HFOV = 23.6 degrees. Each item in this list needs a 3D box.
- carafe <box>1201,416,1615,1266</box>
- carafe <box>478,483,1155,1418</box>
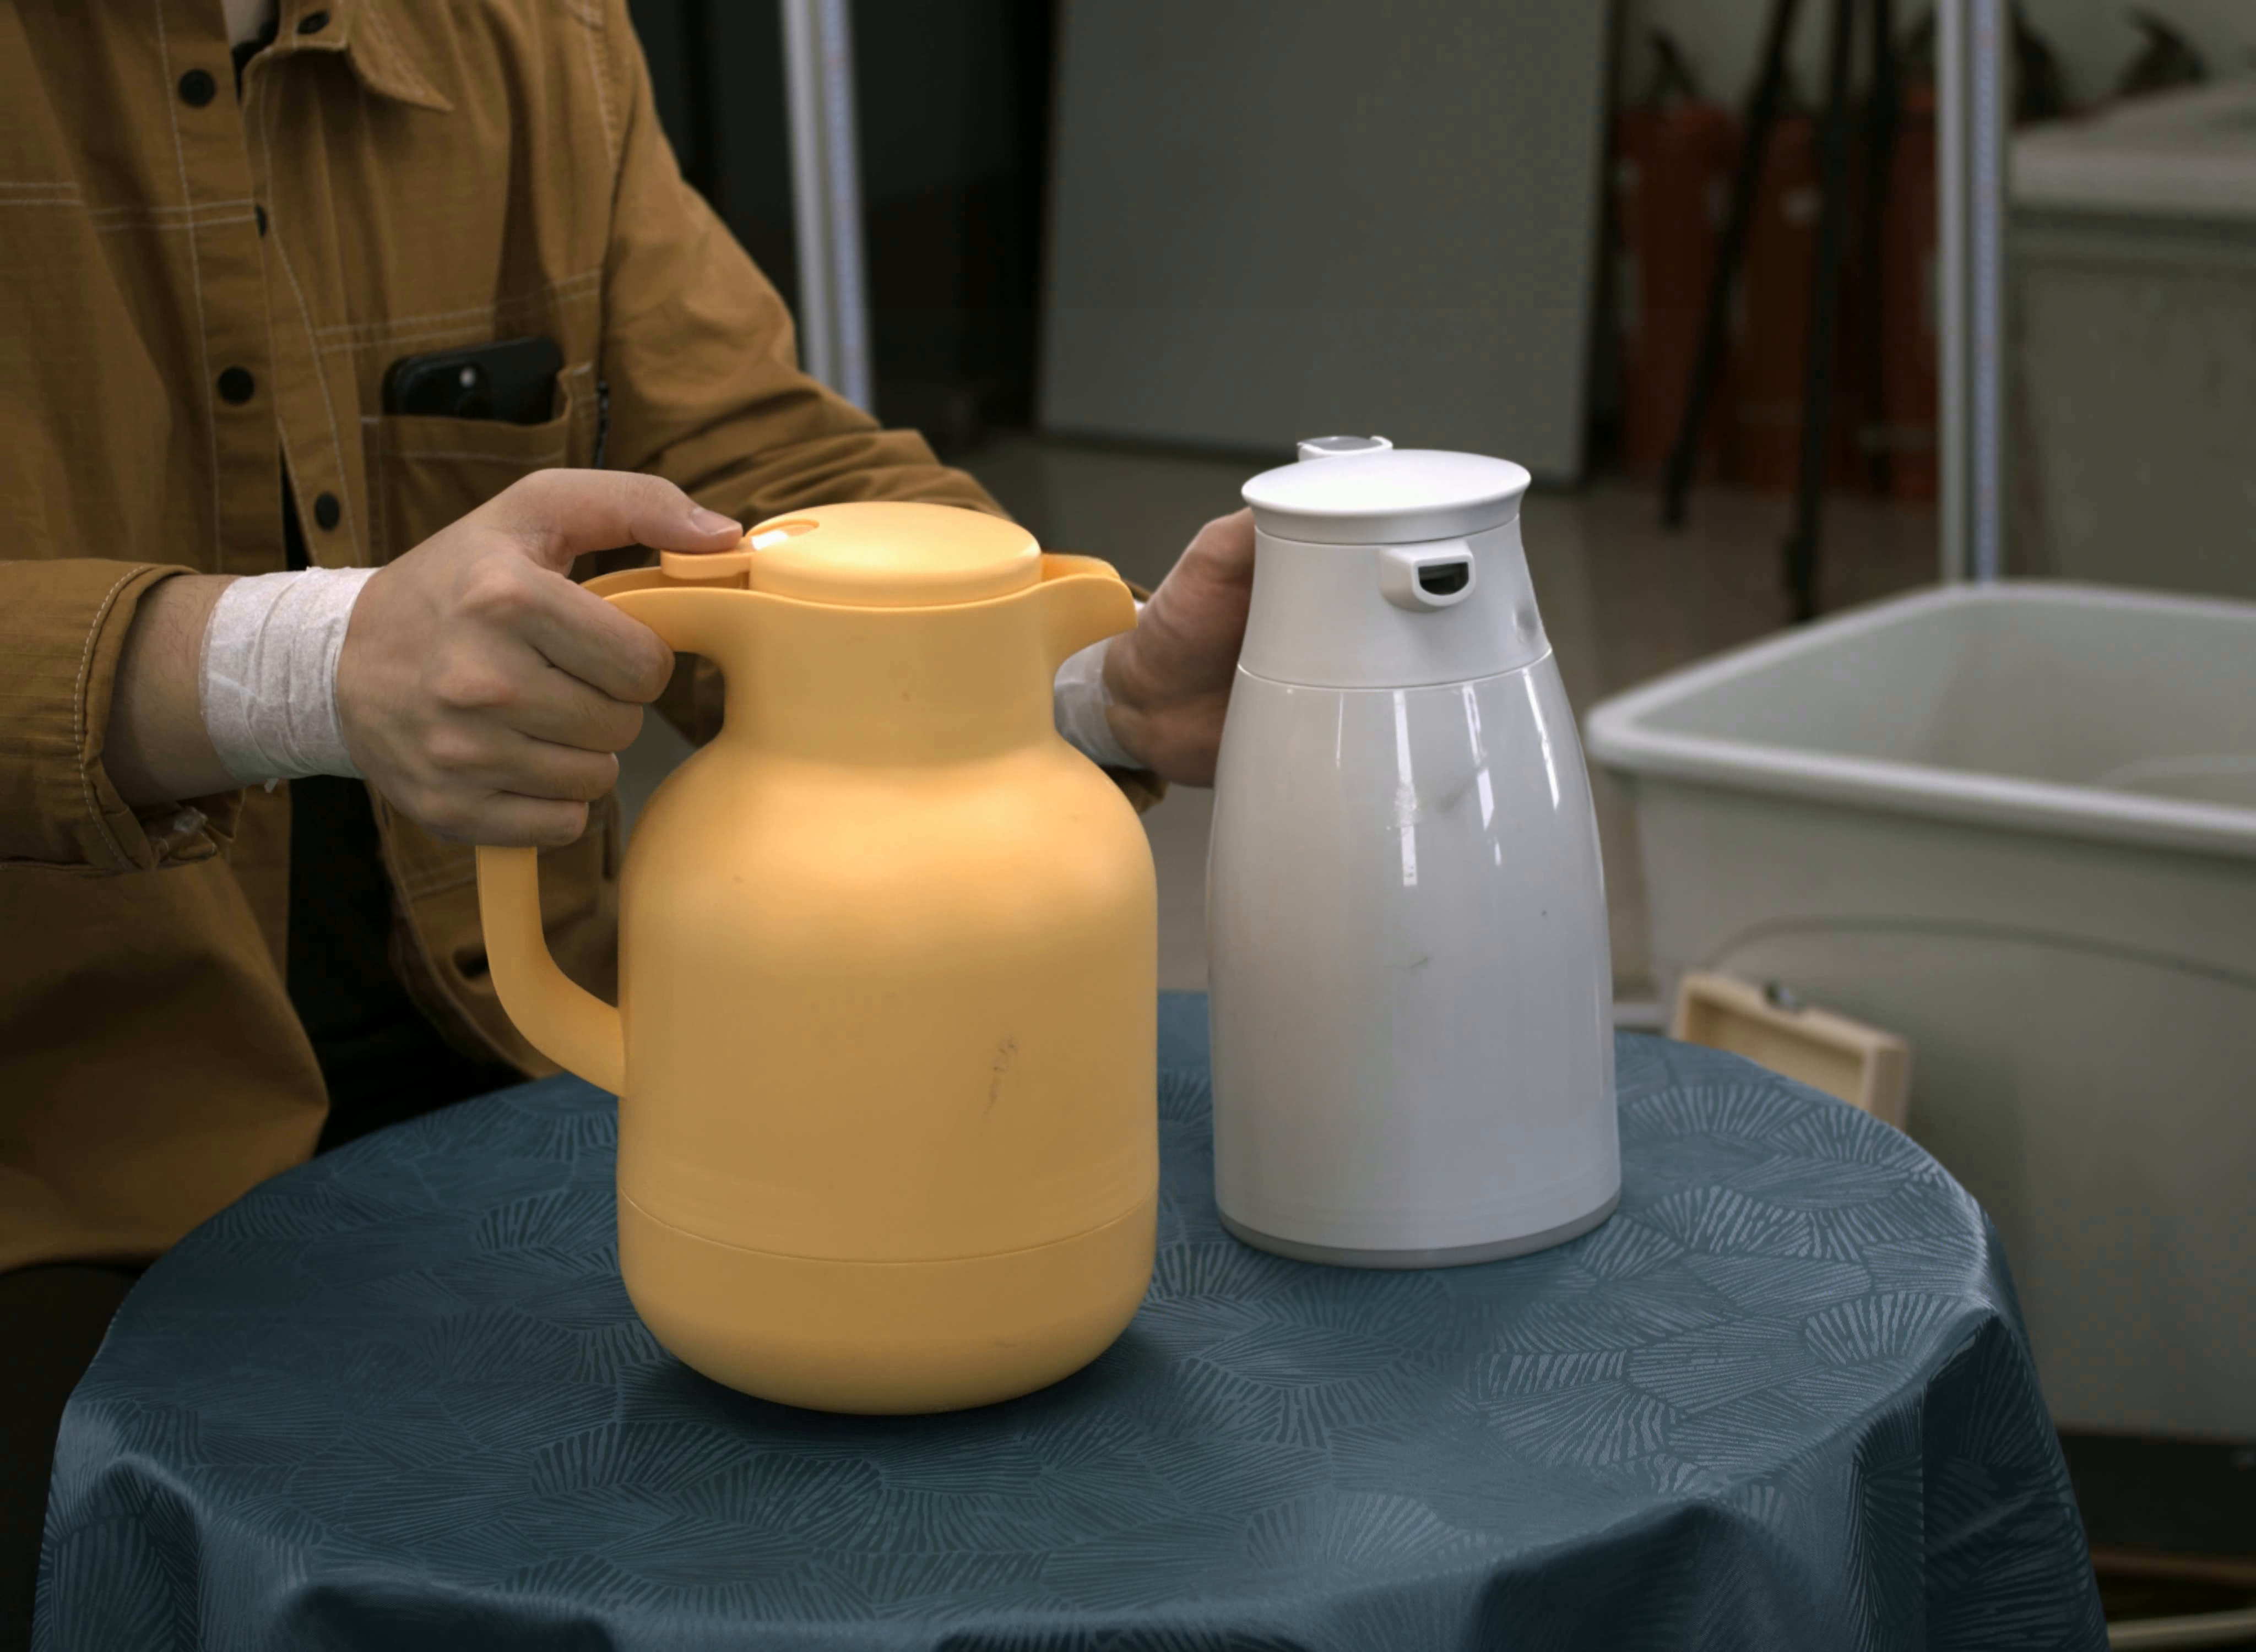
[{"bbox_3d":[0.080,-0.003,1.729,0.130,0.251,0.169,-7,13,-12],"label":"carafe"},{"bbox_3d":[-0.091,0.032,1.593,0.199,0.263,0.164,0,13,-6],"label":"carafe"}]
